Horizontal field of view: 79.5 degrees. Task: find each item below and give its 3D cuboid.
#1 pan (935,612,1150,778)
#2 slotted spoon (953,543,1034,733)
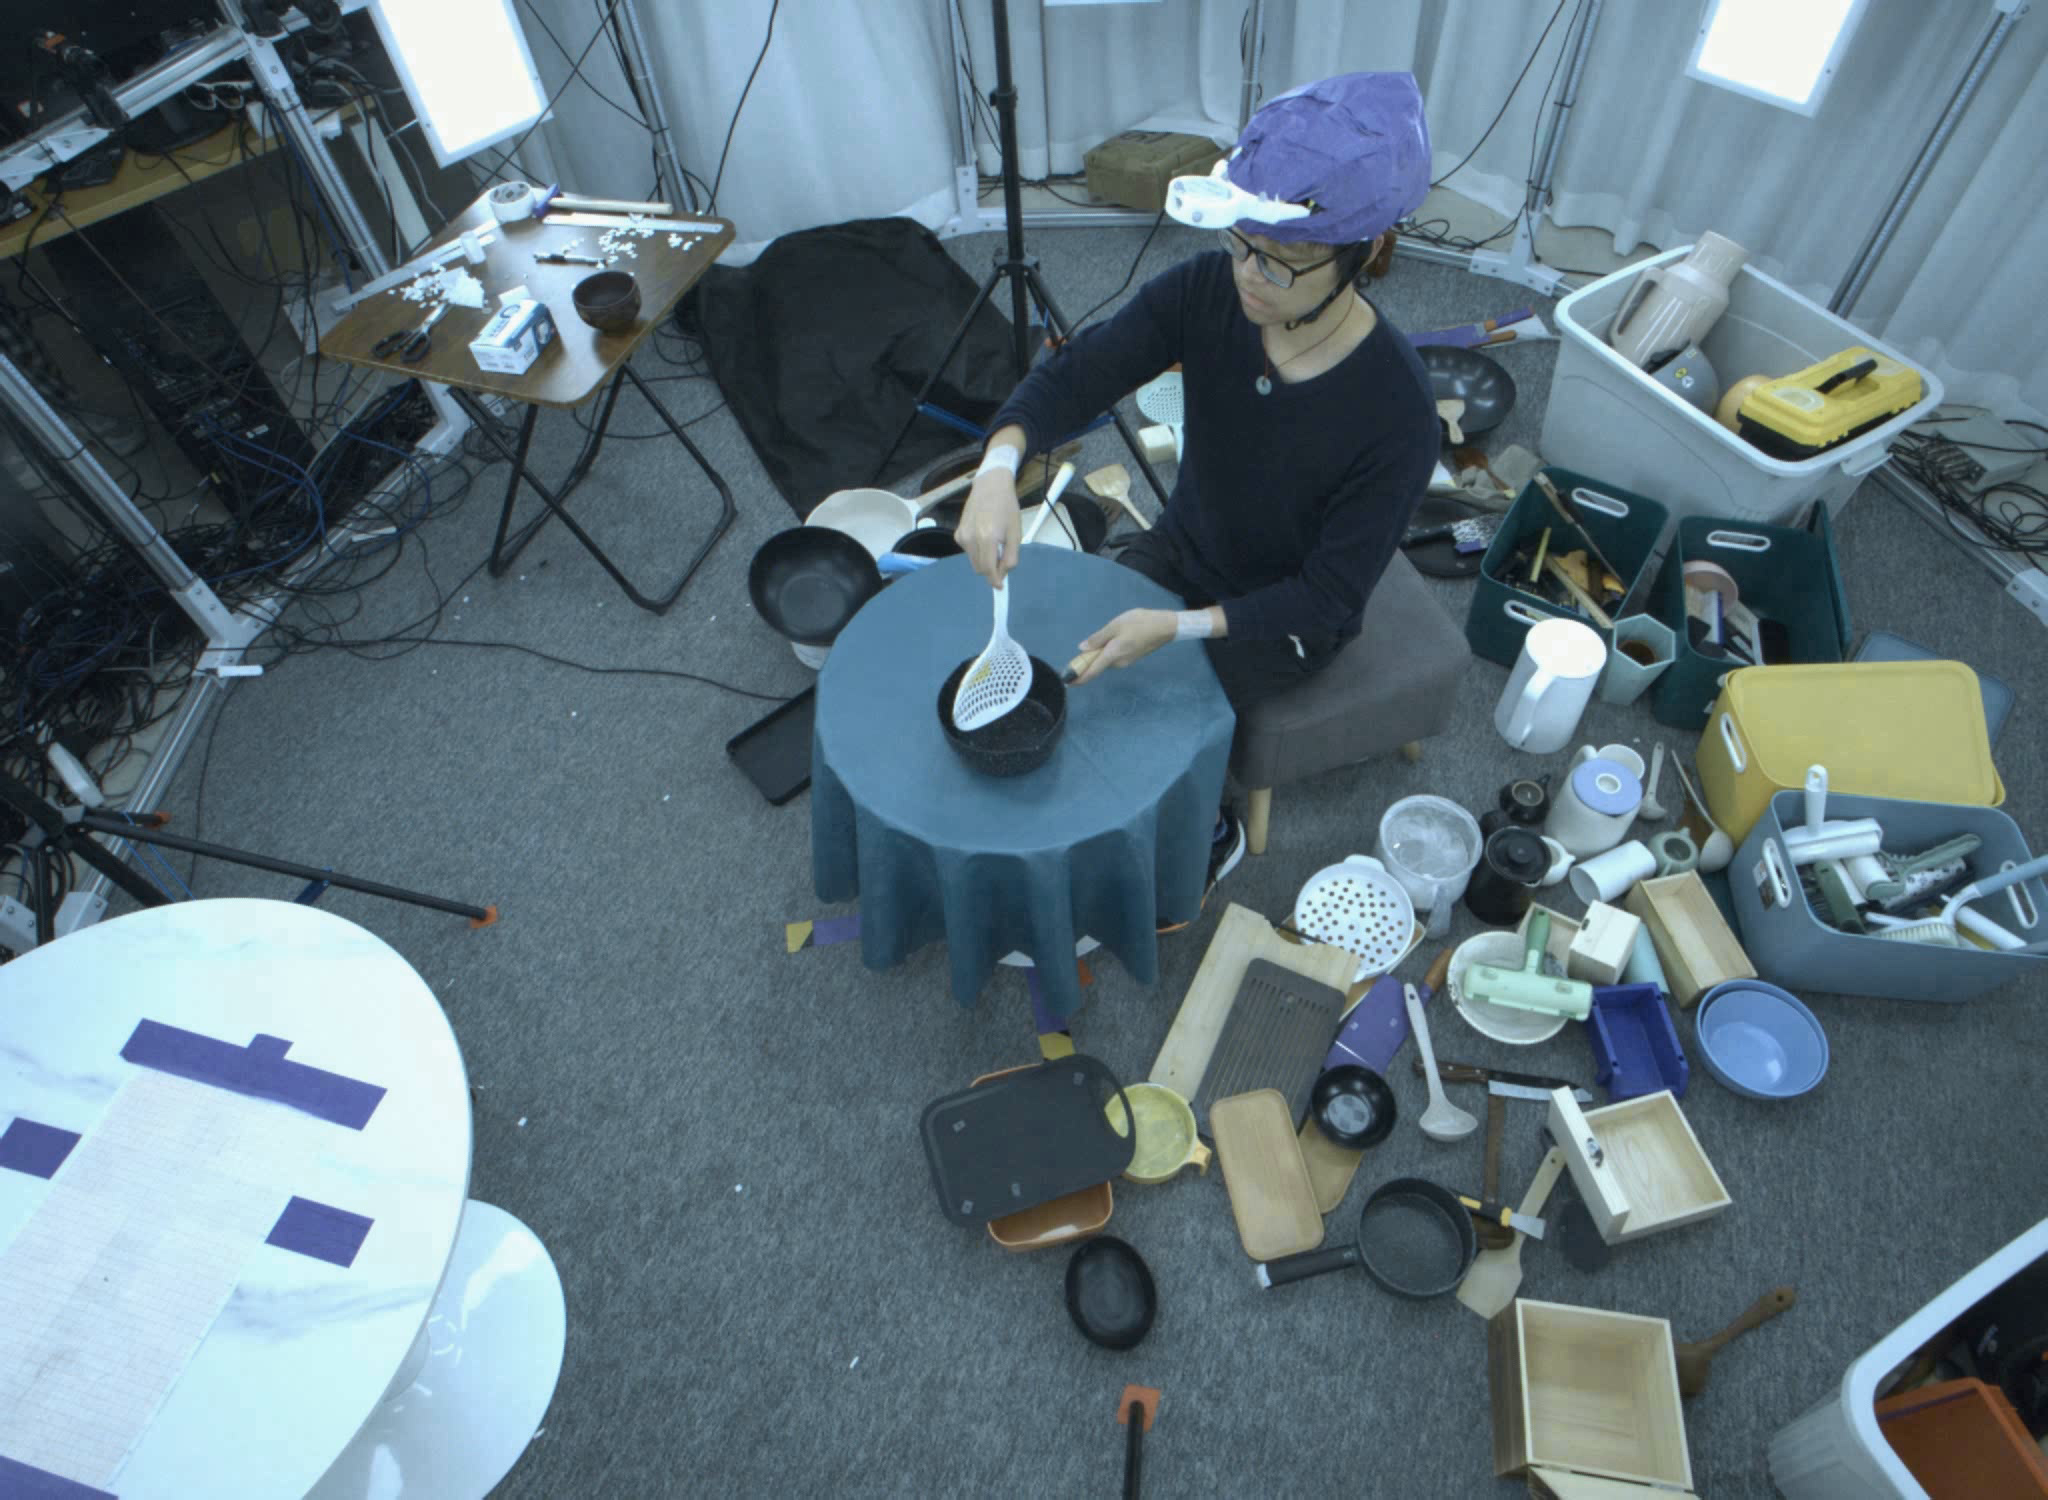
[{"bbox_3d":[0.037,-0.090,1.779,0.345,0.109,0.203,-30,57,-15],"label":"pan"},{"bbox_3d":[-0.044,-0.148,1.649,0.138,0.350,0.049,-29,65,-22],"label":"slotted spoon"}]
